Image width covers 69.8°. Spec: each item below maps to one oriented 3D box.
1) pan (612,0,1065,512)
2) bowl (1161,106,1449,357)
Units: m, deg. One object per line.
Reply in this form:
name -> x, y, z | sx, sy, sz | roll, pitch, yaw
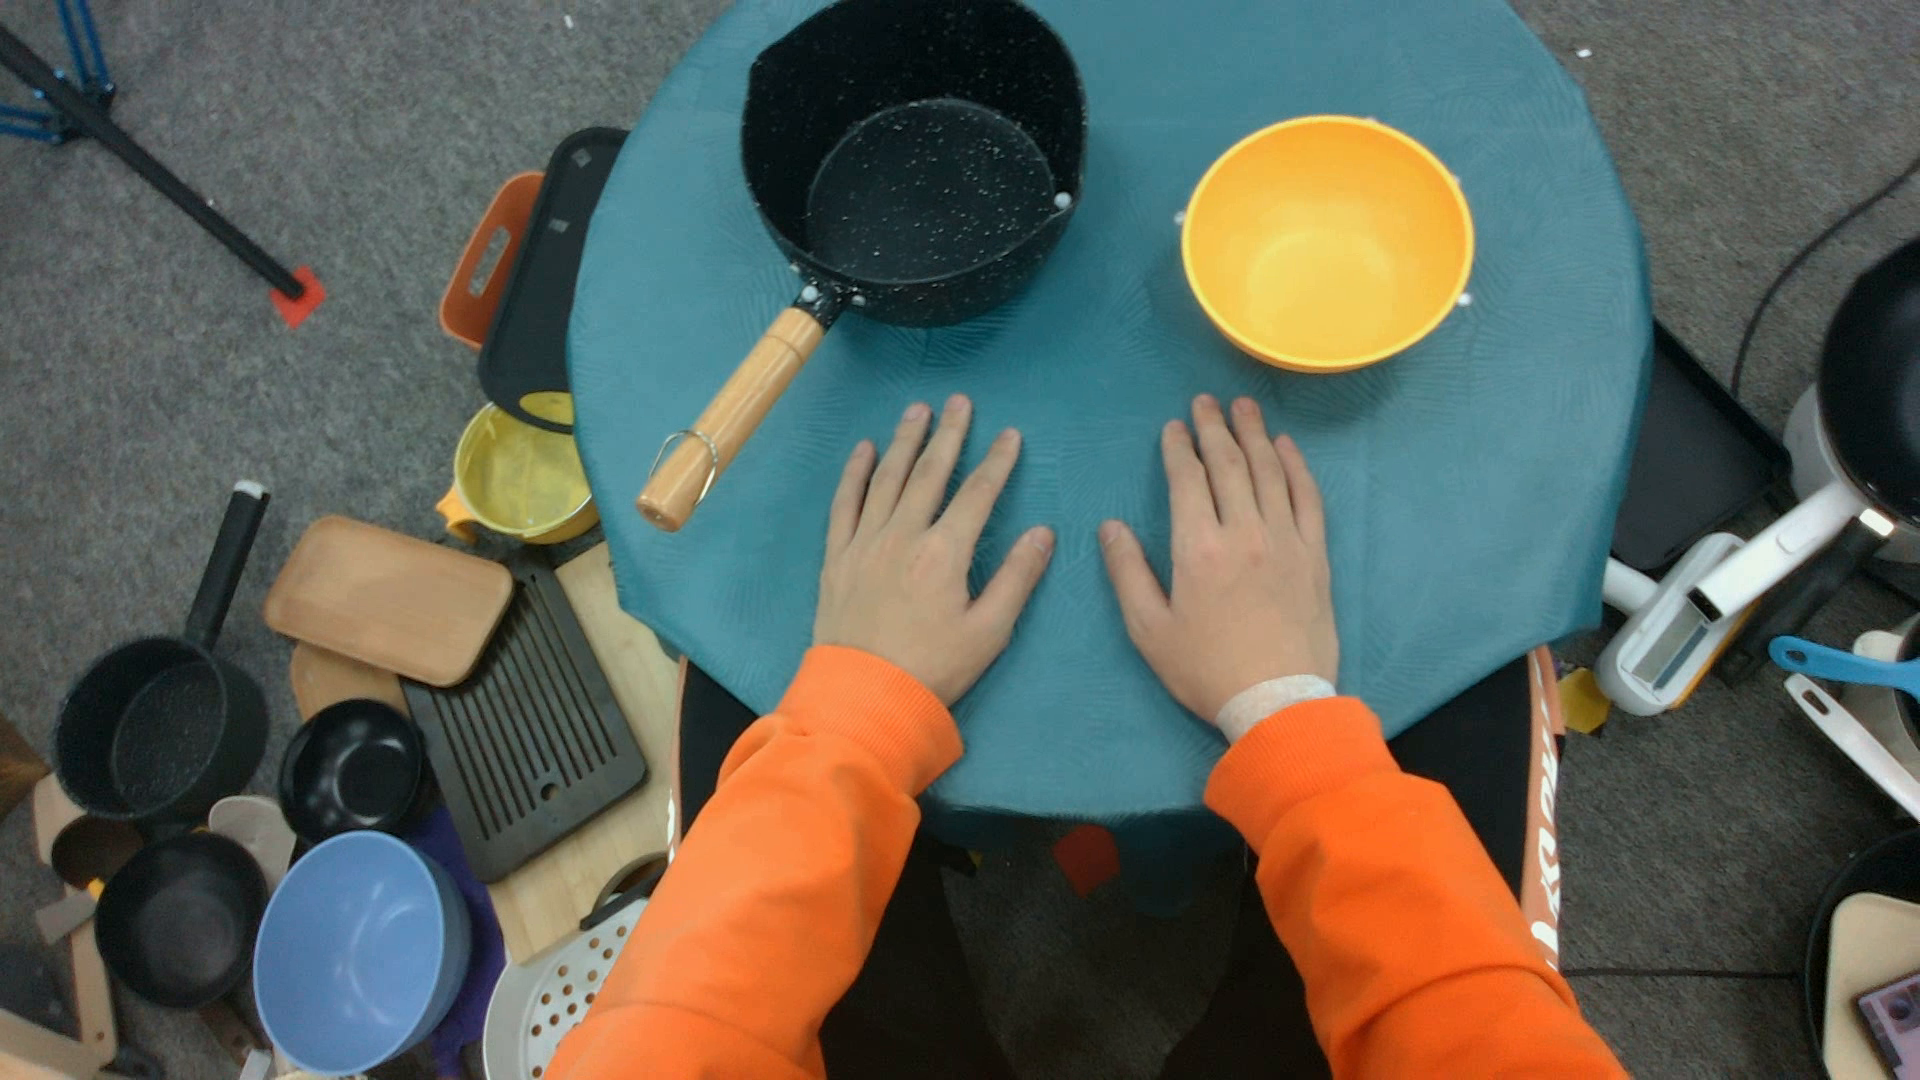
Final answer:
pan -> -0.071, -0.147, 0.732 | 0.207, 0.108, 0.344 | 25, 75, 11
bowl -> 0.180, -0.154, 0.736 | 0.145, 0.060, 0.145 | -2, 71, 6
